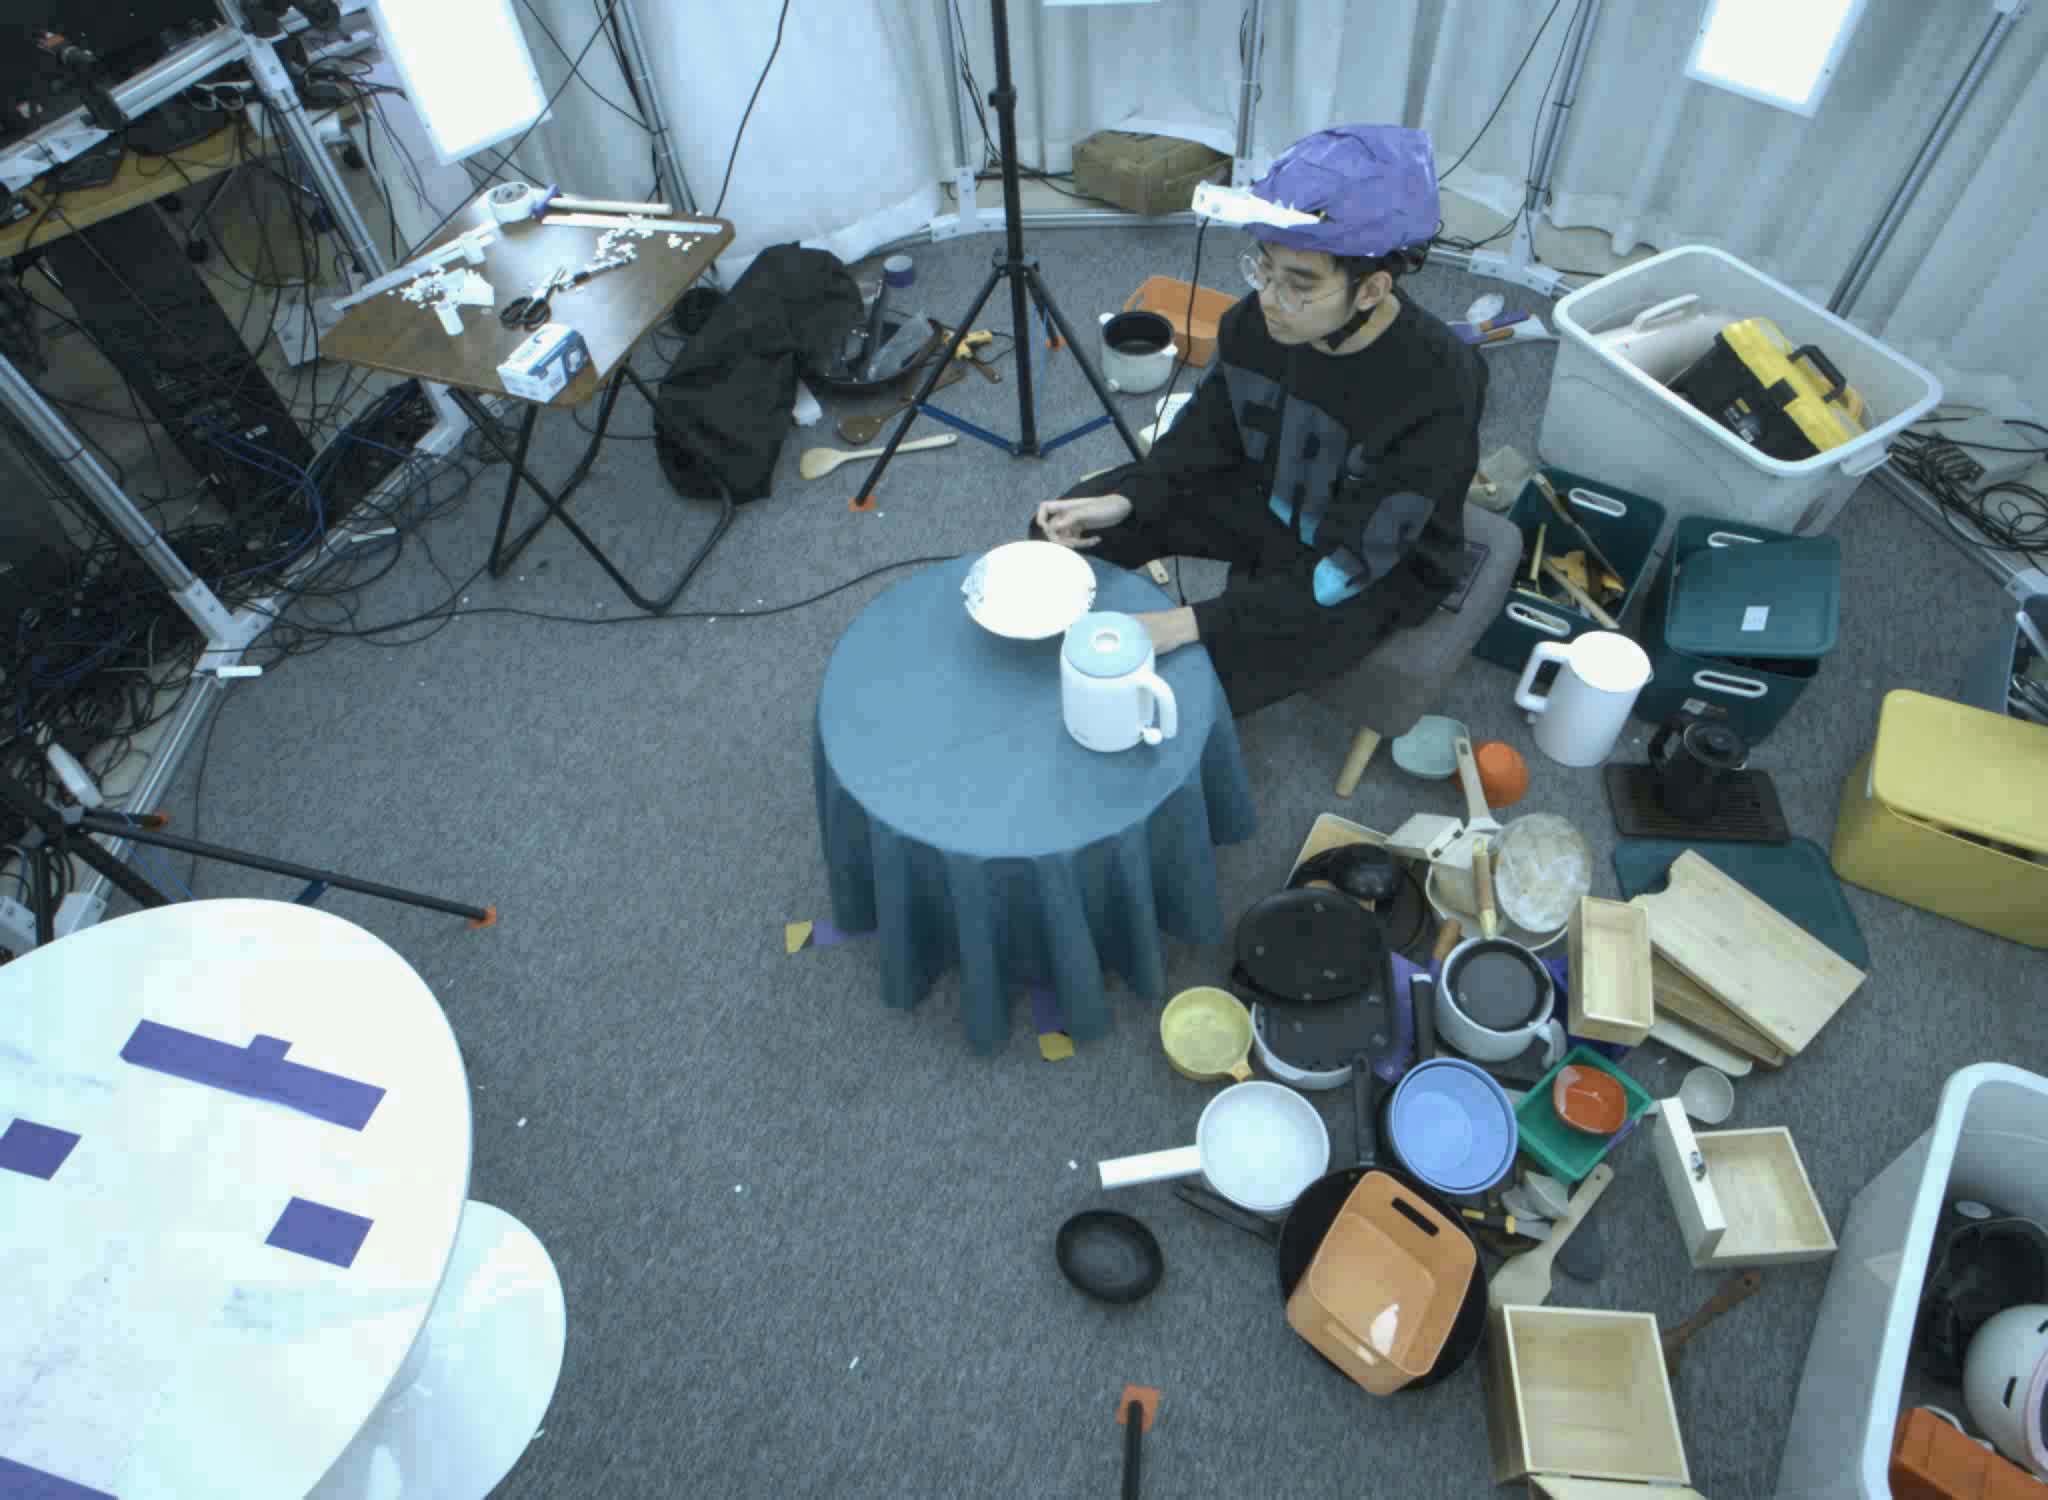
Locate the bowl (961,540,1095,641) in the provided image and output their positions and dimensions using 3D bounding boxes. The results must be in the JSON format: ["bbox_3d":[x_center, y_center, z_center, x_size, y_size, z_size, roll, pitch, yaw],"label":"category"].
[{"bbox_3d":[0.007,-0.226,1.898,0.204,0.078,0.202,1,54,0],"label":"bowl"}]

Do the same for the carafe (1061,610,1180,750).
[{"bbox_3d":[0.138,-0.086,1.734,0.188,0.184,0.133,32,64,21],"label":"carafe"}]
